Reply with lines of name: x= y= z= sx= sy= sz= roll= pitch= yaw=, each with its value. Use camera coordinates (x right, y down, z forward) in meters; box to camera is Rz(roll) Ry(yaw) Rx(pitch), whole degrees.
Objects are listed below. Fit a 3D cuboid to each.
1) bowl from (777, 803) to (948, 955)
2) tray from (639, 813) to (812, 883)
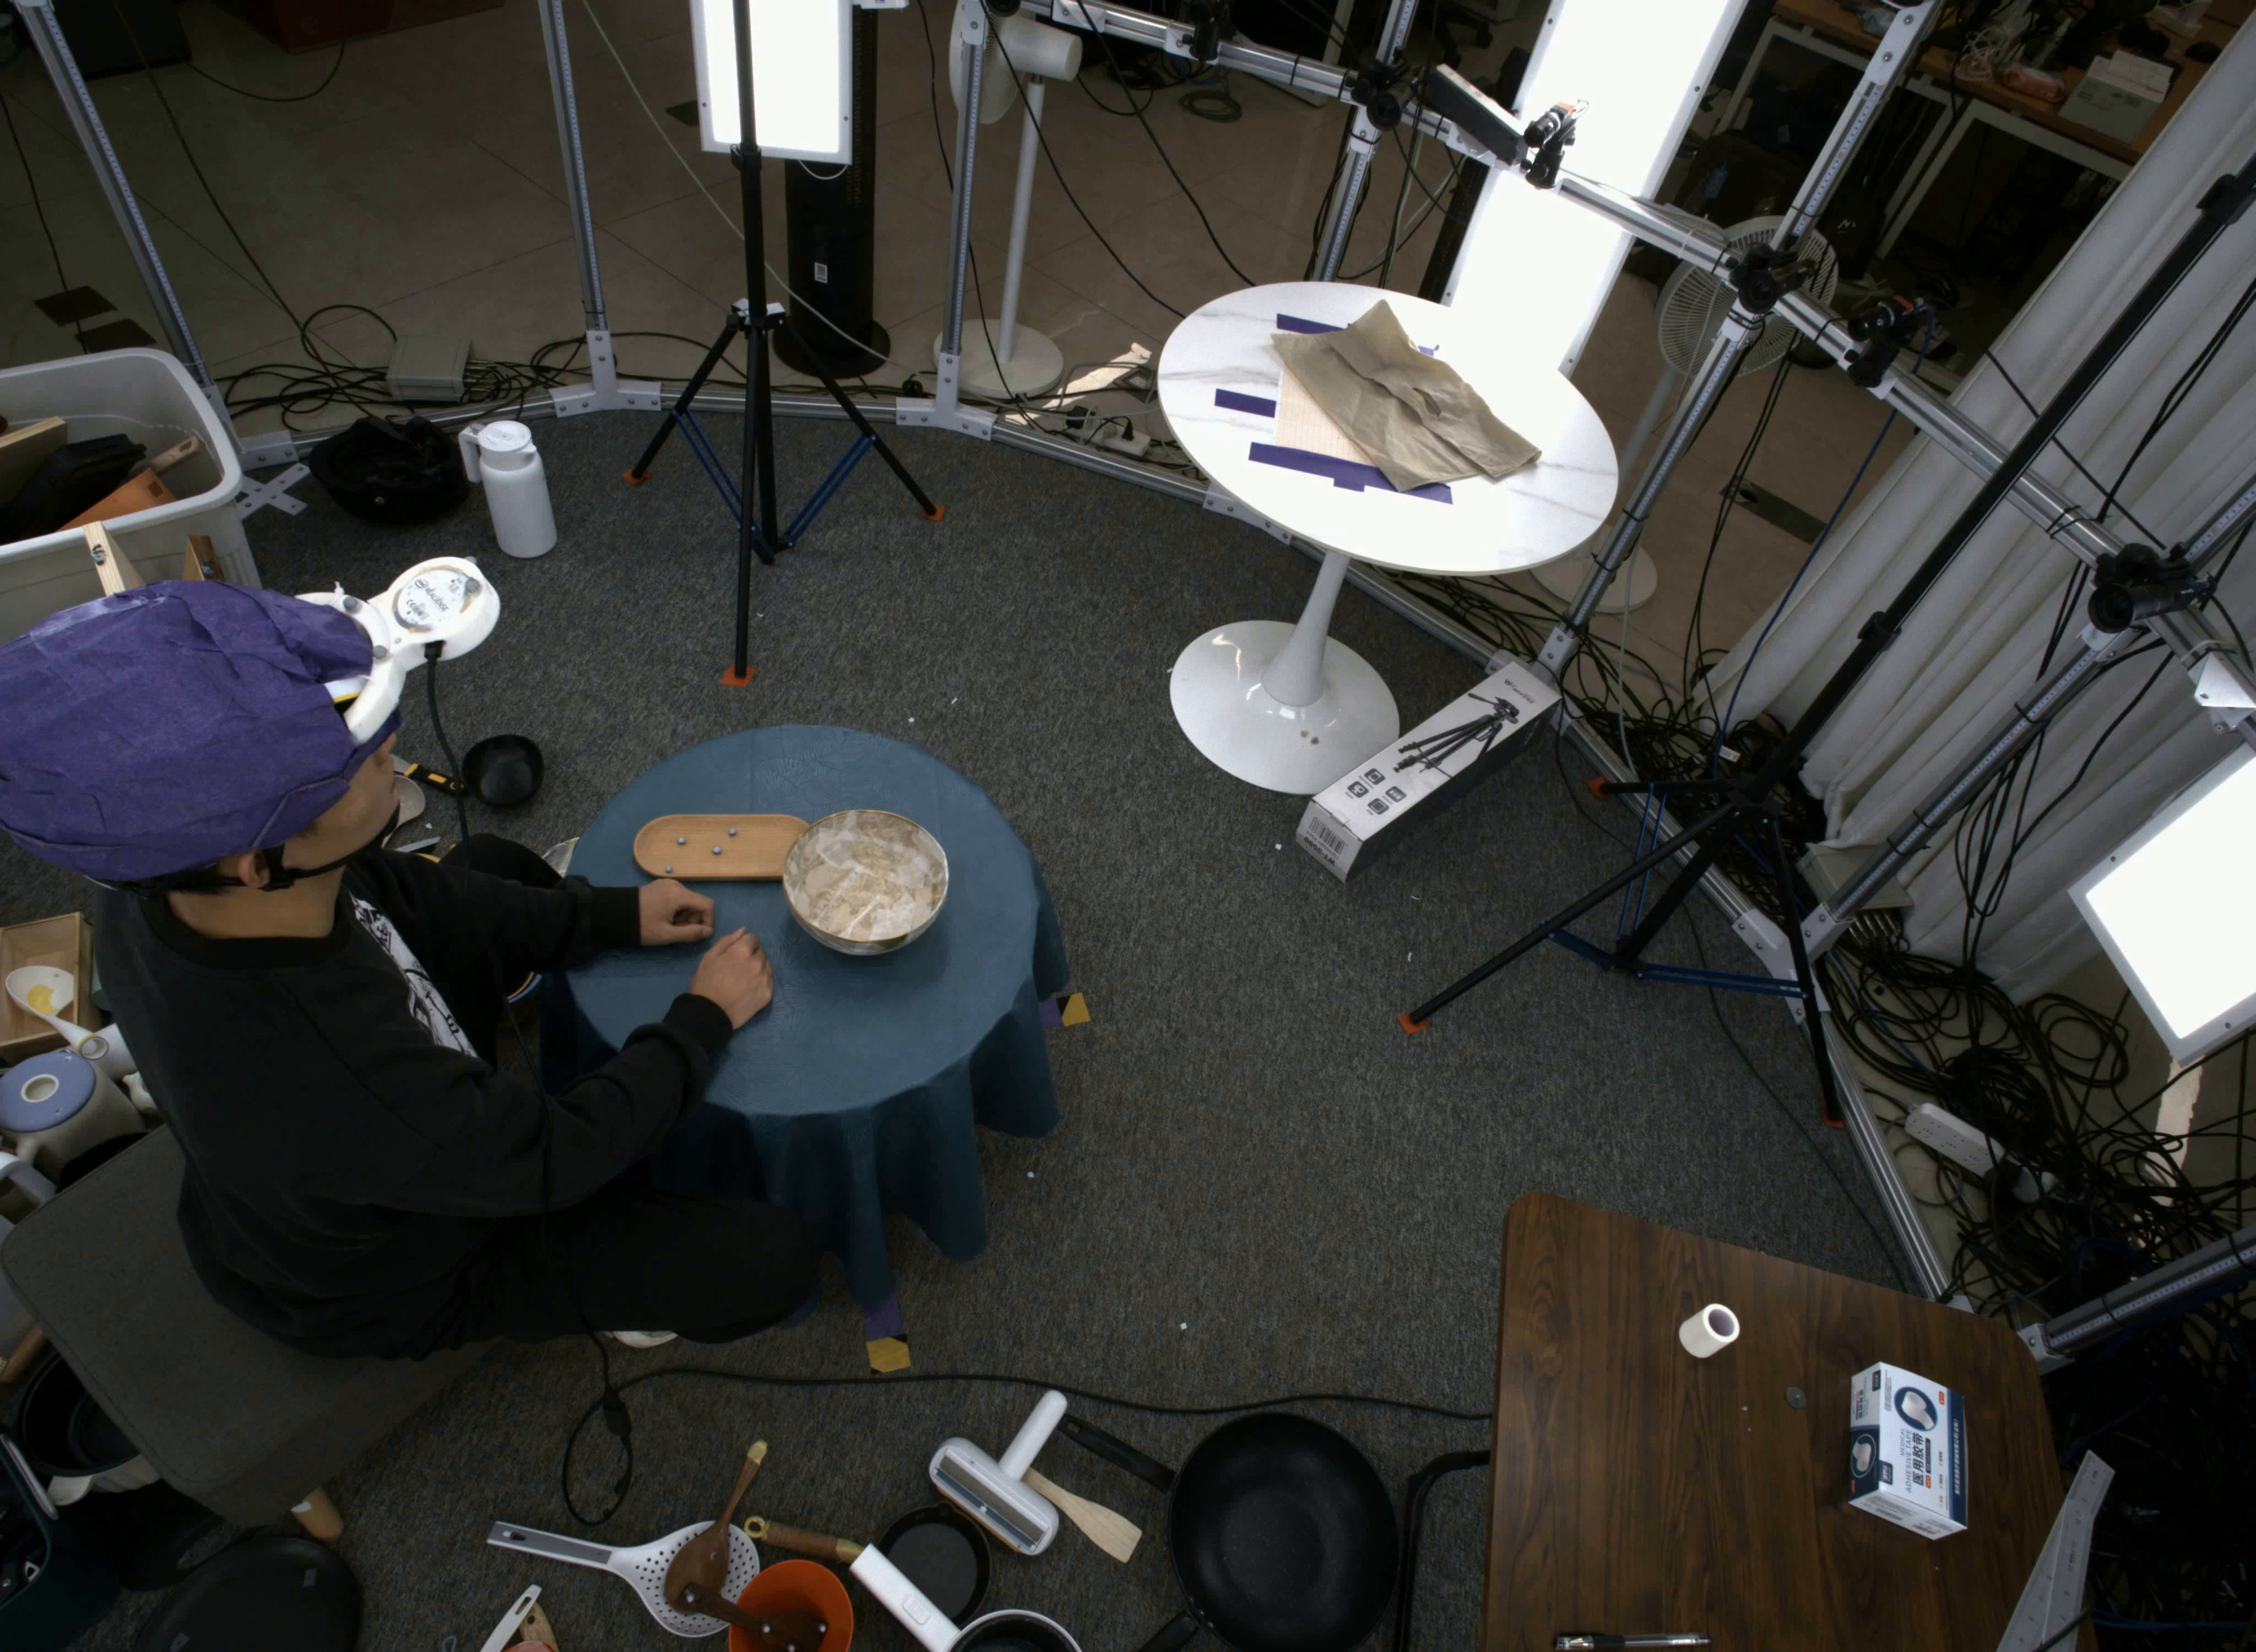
bowl: x=-0.333 y=0.080 z=1.633 sx=0.214 sy=0.096 sz=0.211 roll=7 pitch=53 yaw=-8
tray: x=-0.515 y=0.027 z=1.676 sx=0.232 sy=0.020 sz=0.099 roll=0 pitch=56 yaw=-17
